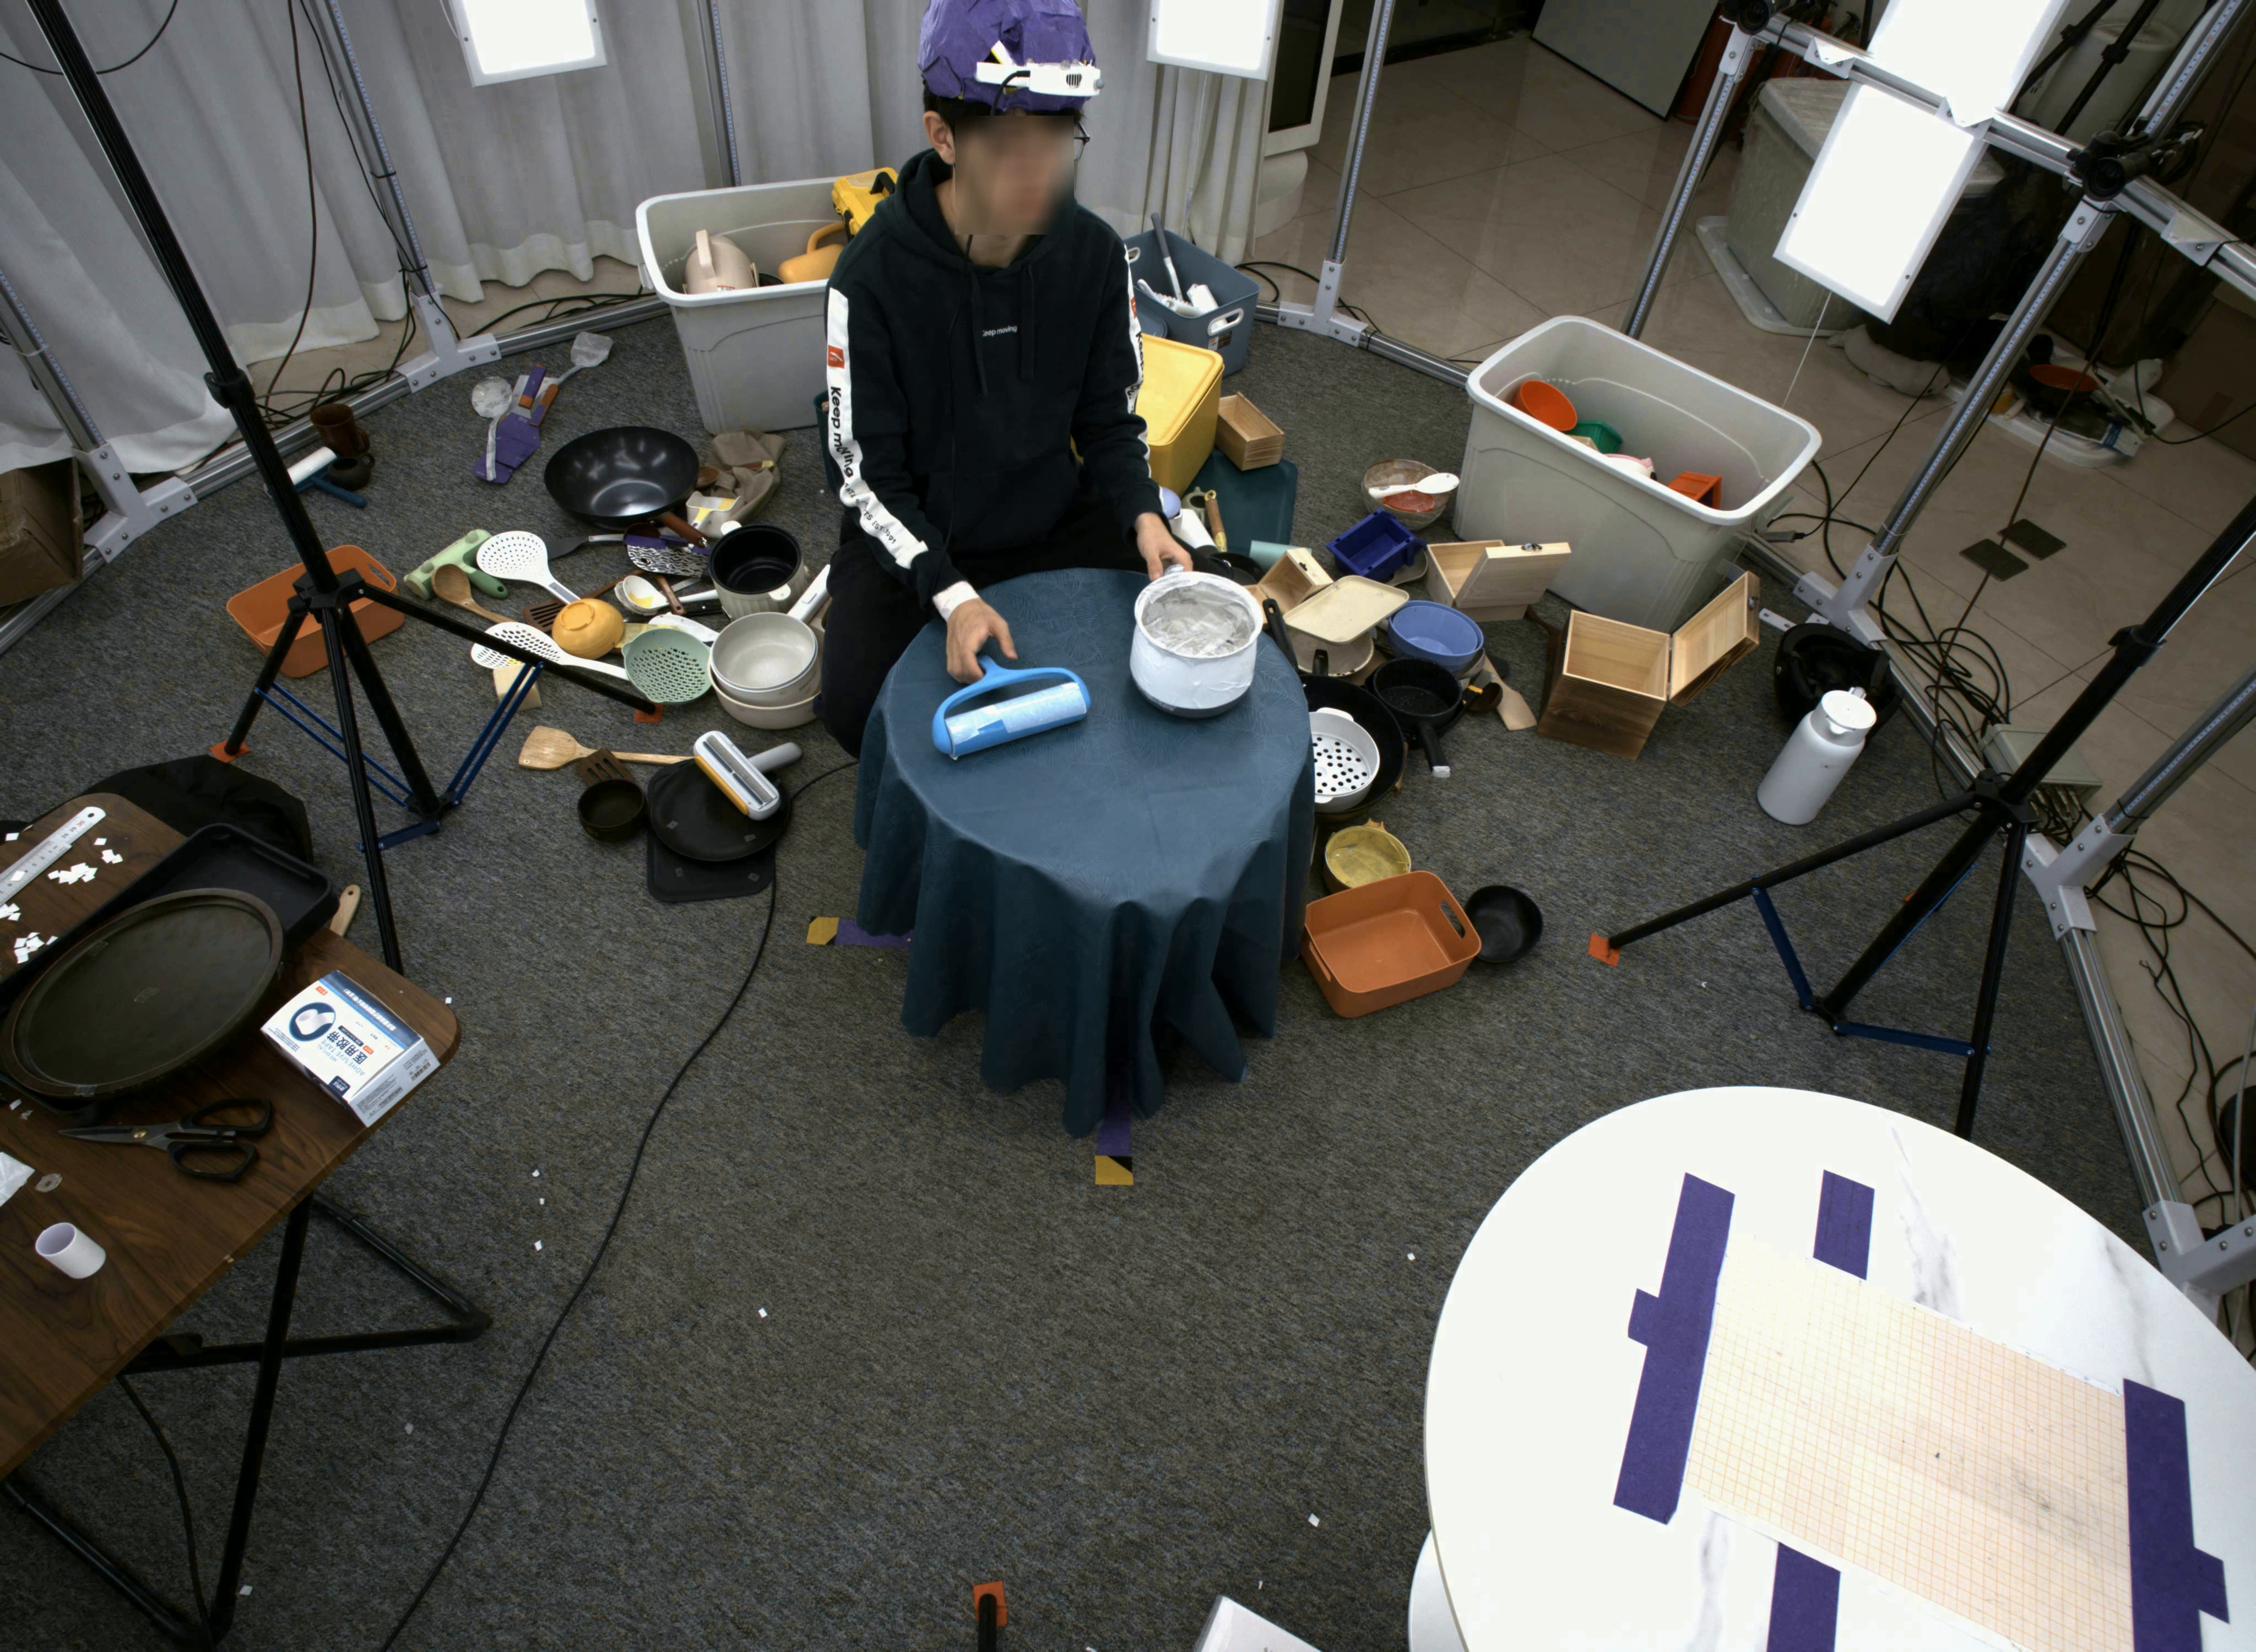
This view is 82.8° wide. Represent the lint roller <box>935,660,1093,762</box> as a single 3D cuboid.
[{"bbox_3d":[-0.182,-0.185,1.781,0.229,0.066,0.184,-23,55,-19],"label":"lint roller"}]

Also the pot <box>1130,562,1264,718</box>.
[{"bbox_3d":[0.086,-0.272,1.818,0.178,0.133,0.239,-10,52,-13],"label":"pot"}]
